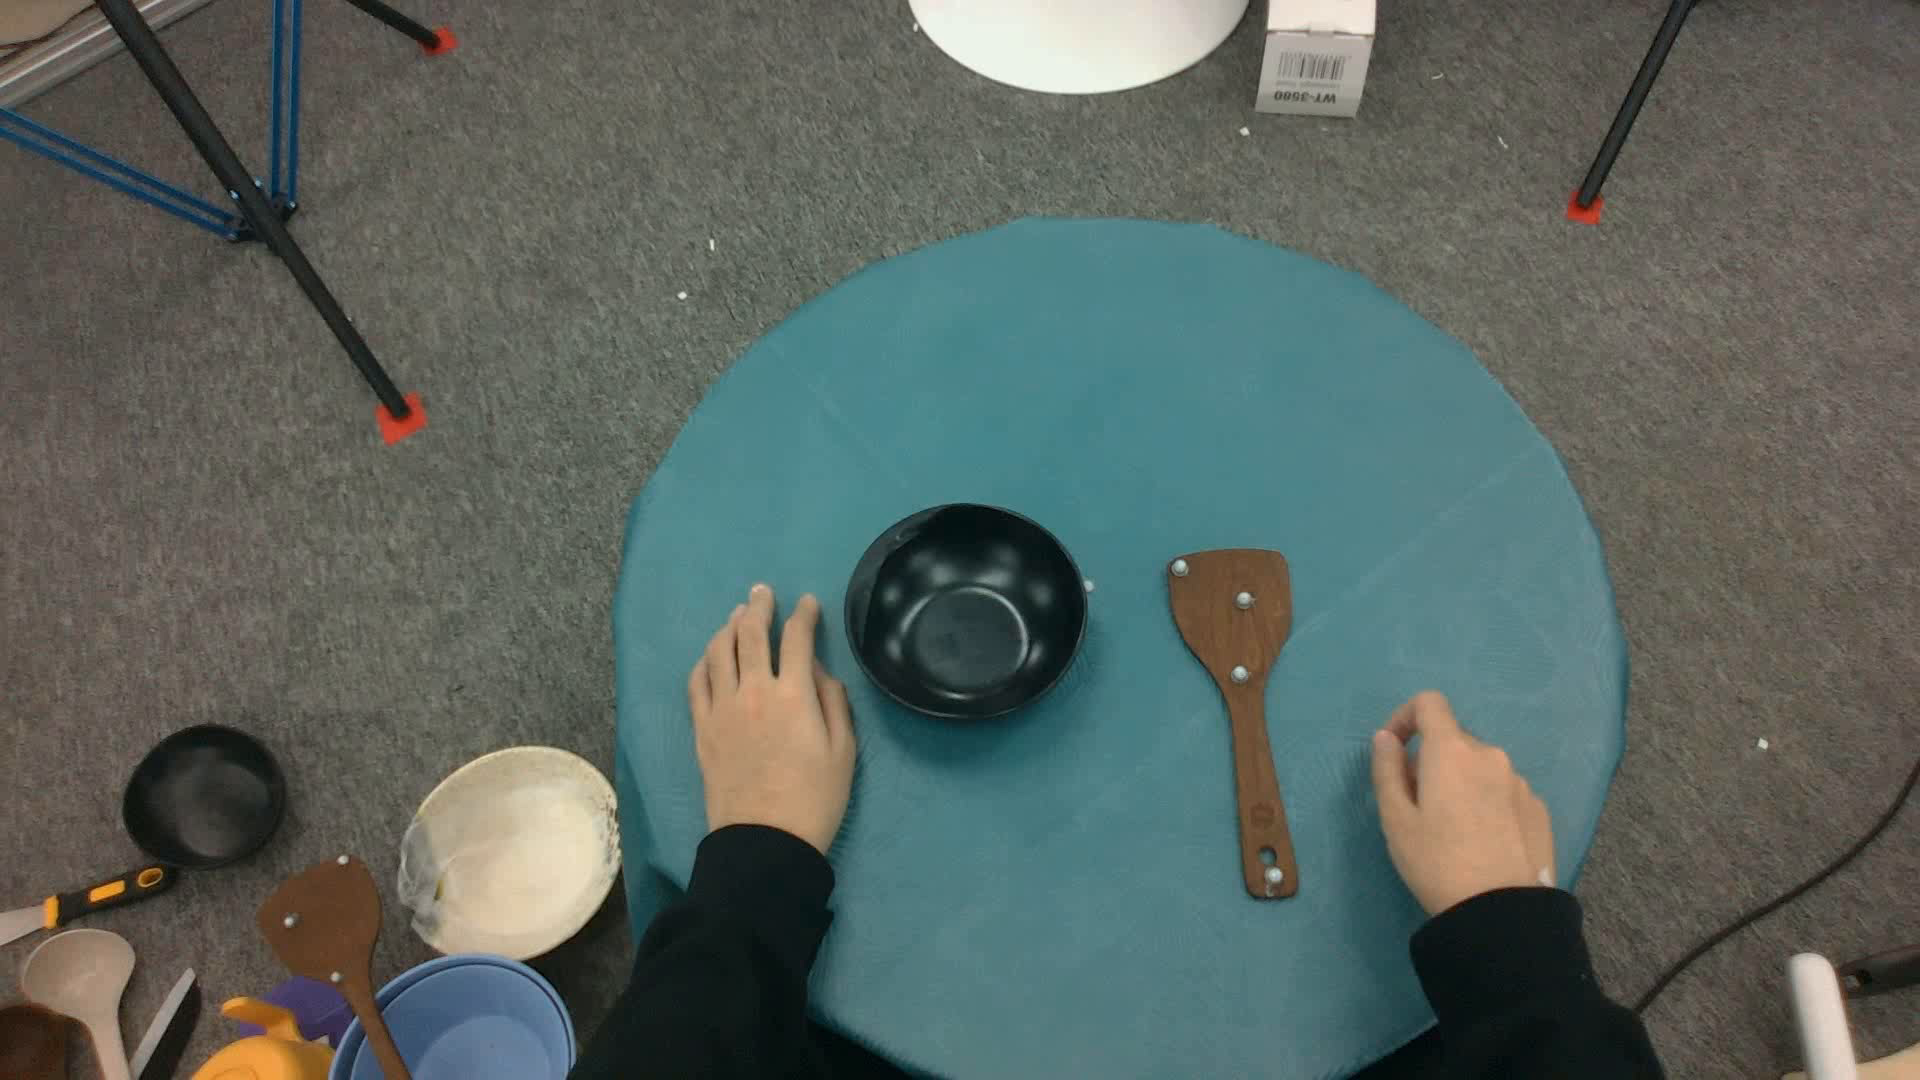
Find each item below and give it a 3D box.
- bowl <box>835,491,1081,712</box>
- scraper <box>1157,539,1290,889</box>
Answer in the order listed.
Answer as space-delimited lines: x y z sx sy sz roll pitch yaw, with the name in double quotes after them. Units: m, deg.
-0.002 0.042 0.793 0.140 0.049 0.140 1 58 -2 "bowl"
0.159 0.093 0.784 0.076 0.011 0.212 -2 60 1 "scraper"
